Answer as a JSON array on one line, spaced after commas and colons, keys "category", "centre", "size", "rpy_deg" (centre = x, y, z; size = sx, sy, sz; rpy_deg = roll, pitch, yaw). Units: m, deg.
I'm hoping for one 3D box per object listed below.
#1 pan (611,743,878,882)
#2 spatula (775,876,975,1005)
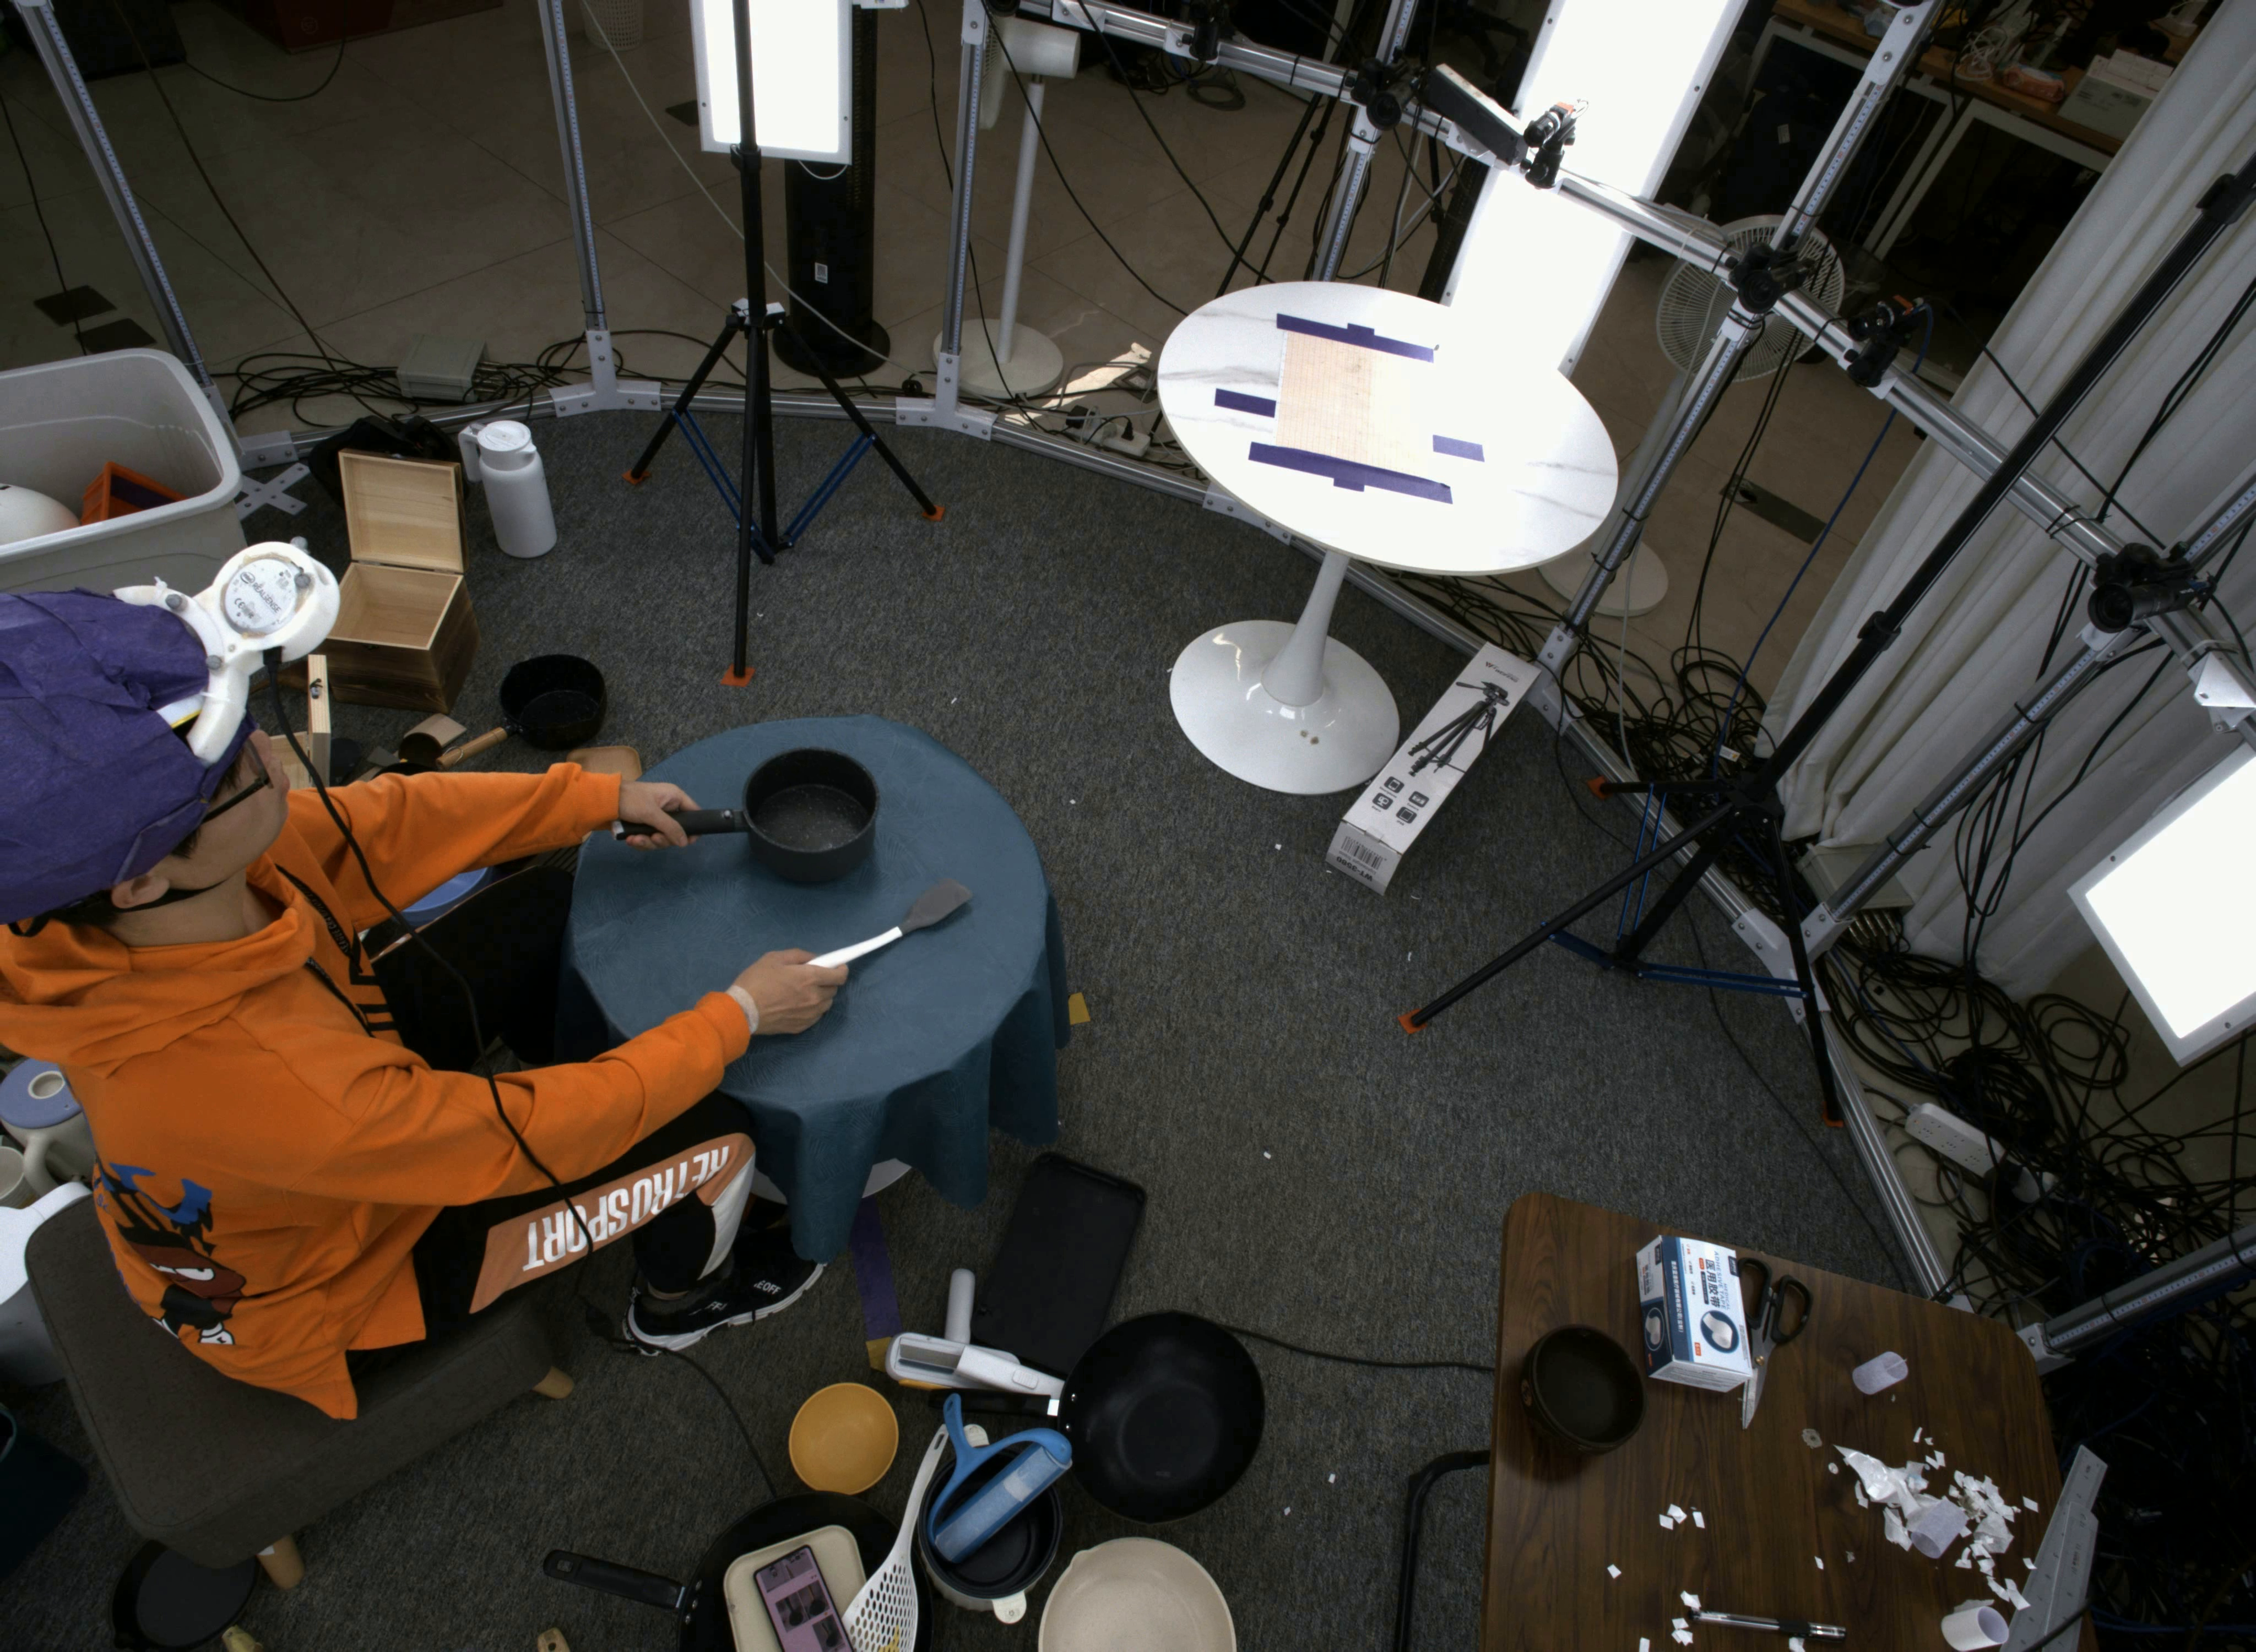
[{"category": "pan", "centre": [-0.481, -0.007, 1.627], "size": [0.330, 0.088, 0.167], "rpy_deg": [-7, 54, -22]}, {"category": "spatula", "centre": [-0.310, 0.137, 1.611], "size": [0.056, 0.033, 0.289], "rpy_deg": [29, 41, 31]}]
